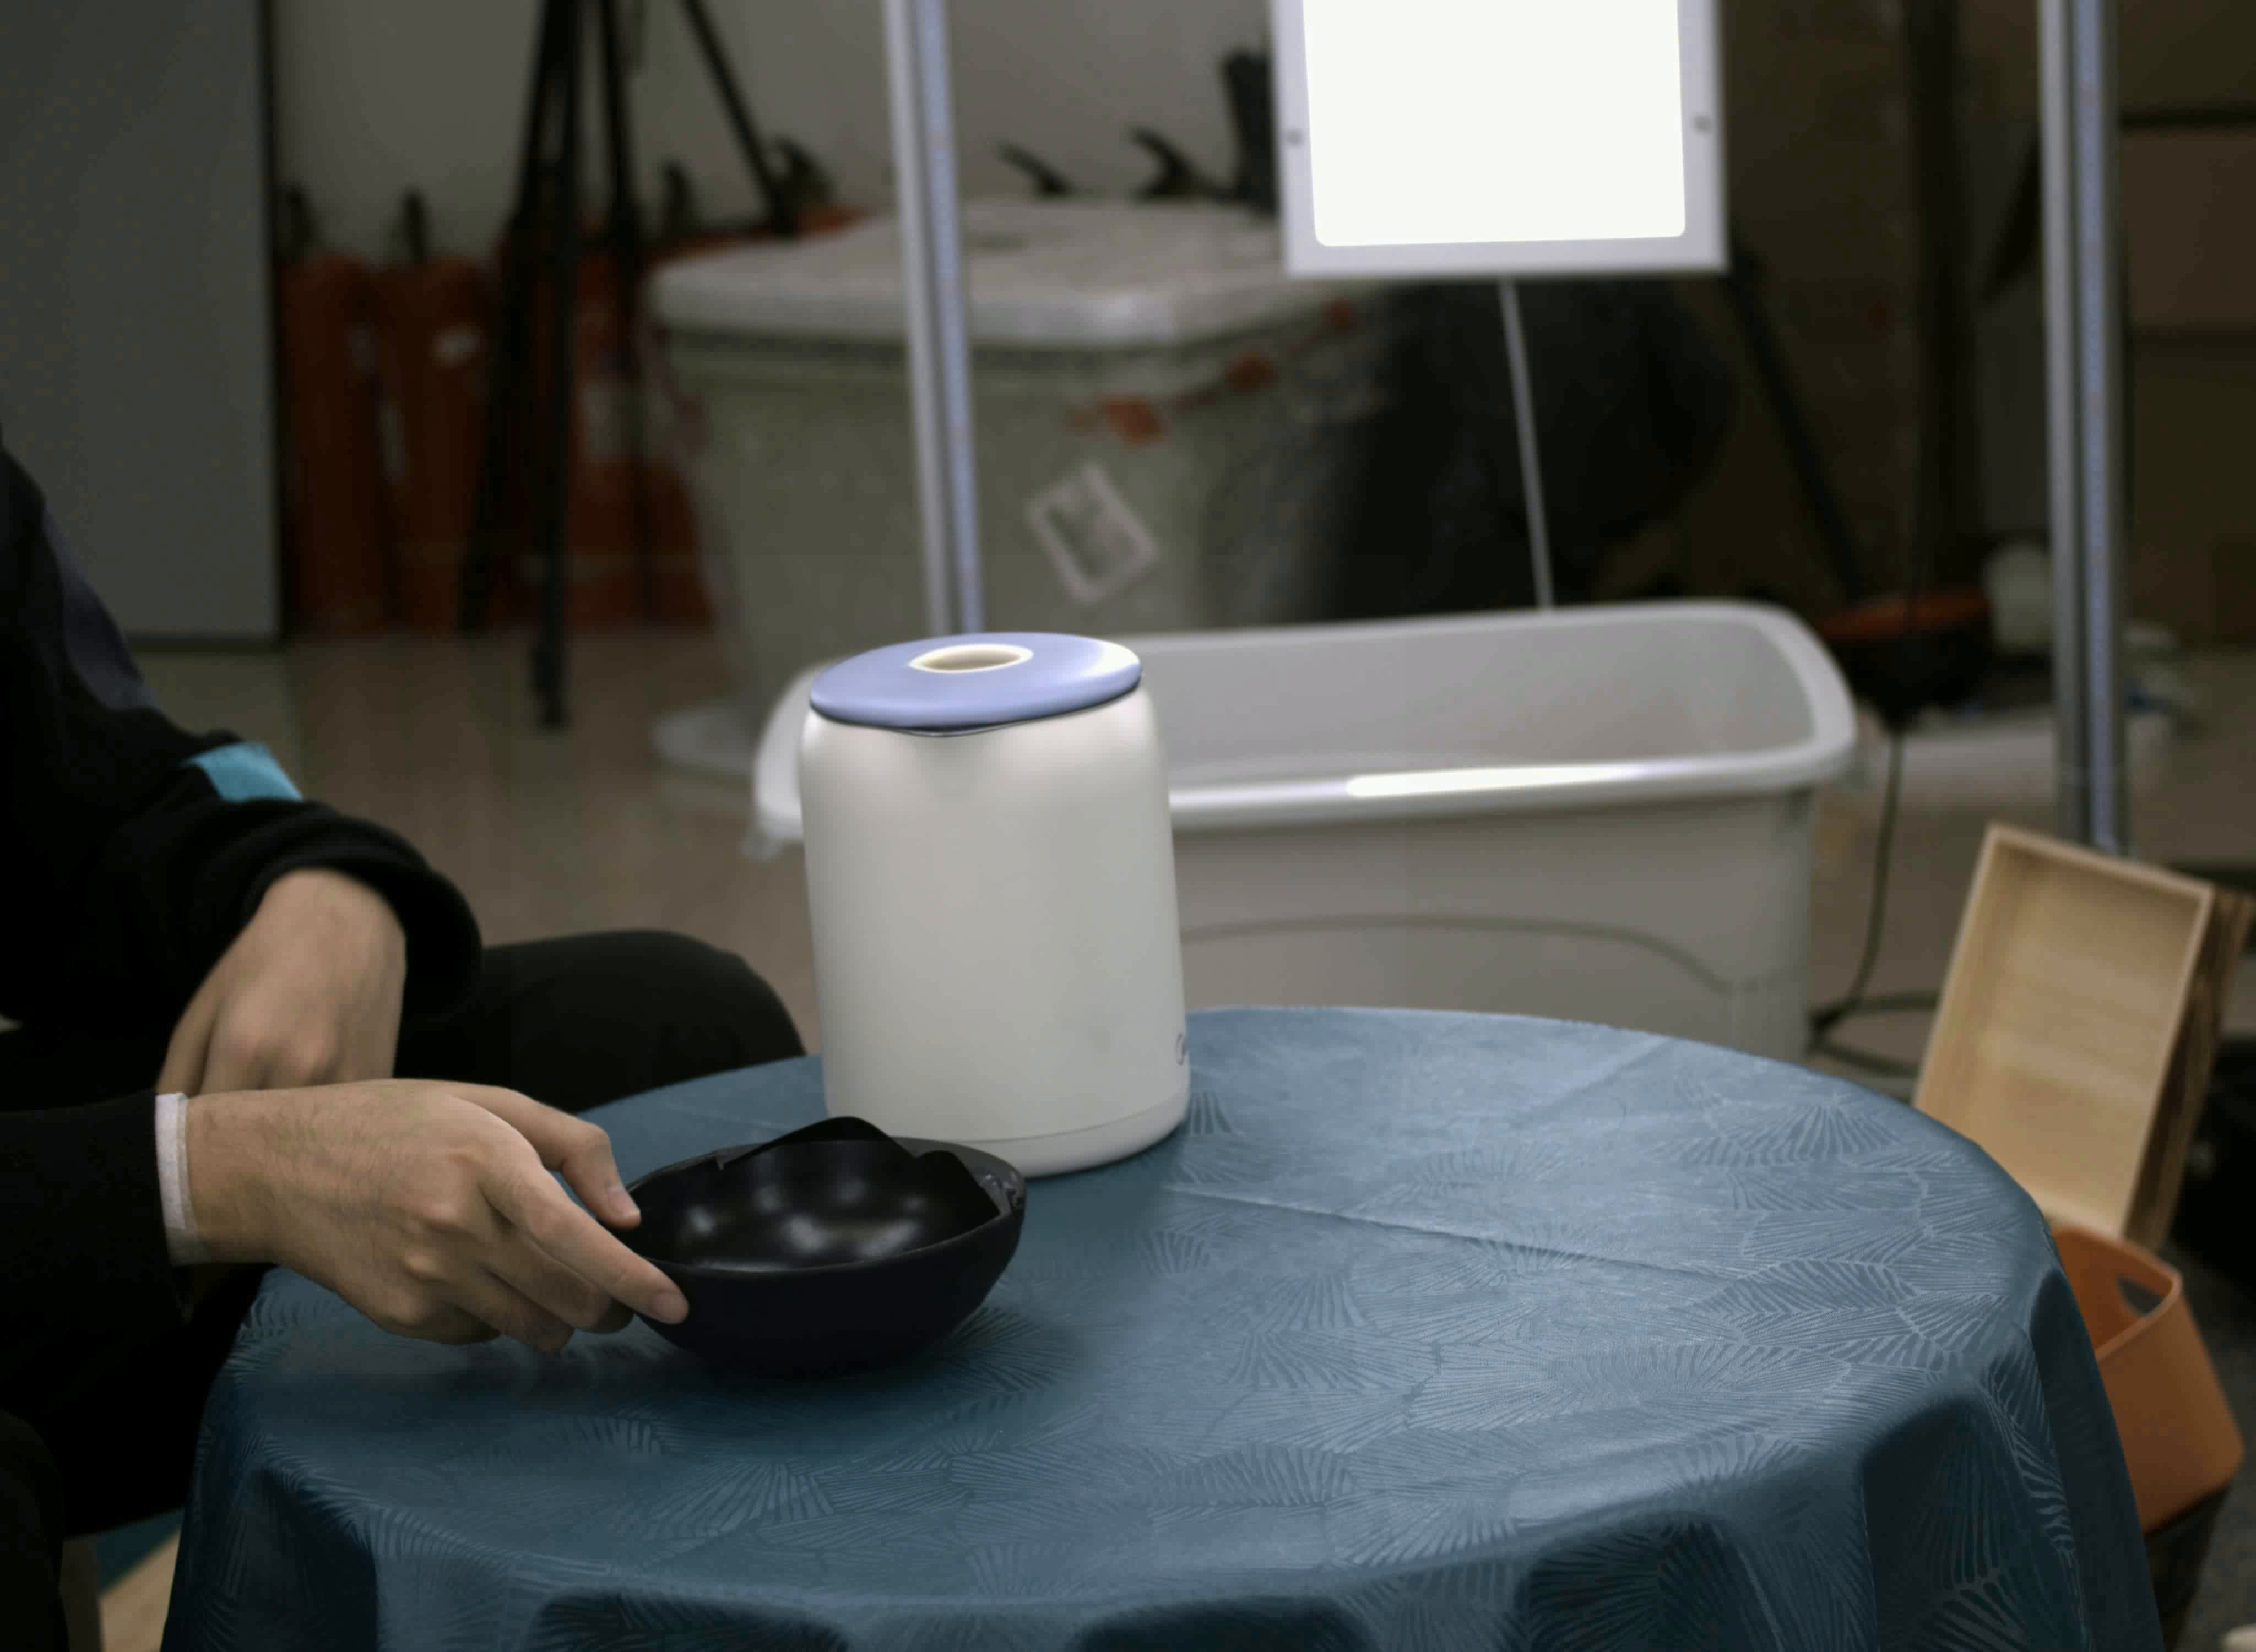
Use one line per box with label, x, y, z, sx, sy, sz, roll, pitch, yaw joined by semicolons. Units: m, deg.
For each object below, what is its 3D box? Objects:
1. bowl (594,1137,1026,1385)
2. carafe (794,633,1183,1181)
bowl;-0.099;0.143;1.762;0.140;0.050;0.140;-8;13;0
carafe;-0.047;0.023;1.976;0.133;0.183;0.189;-2;12;7
